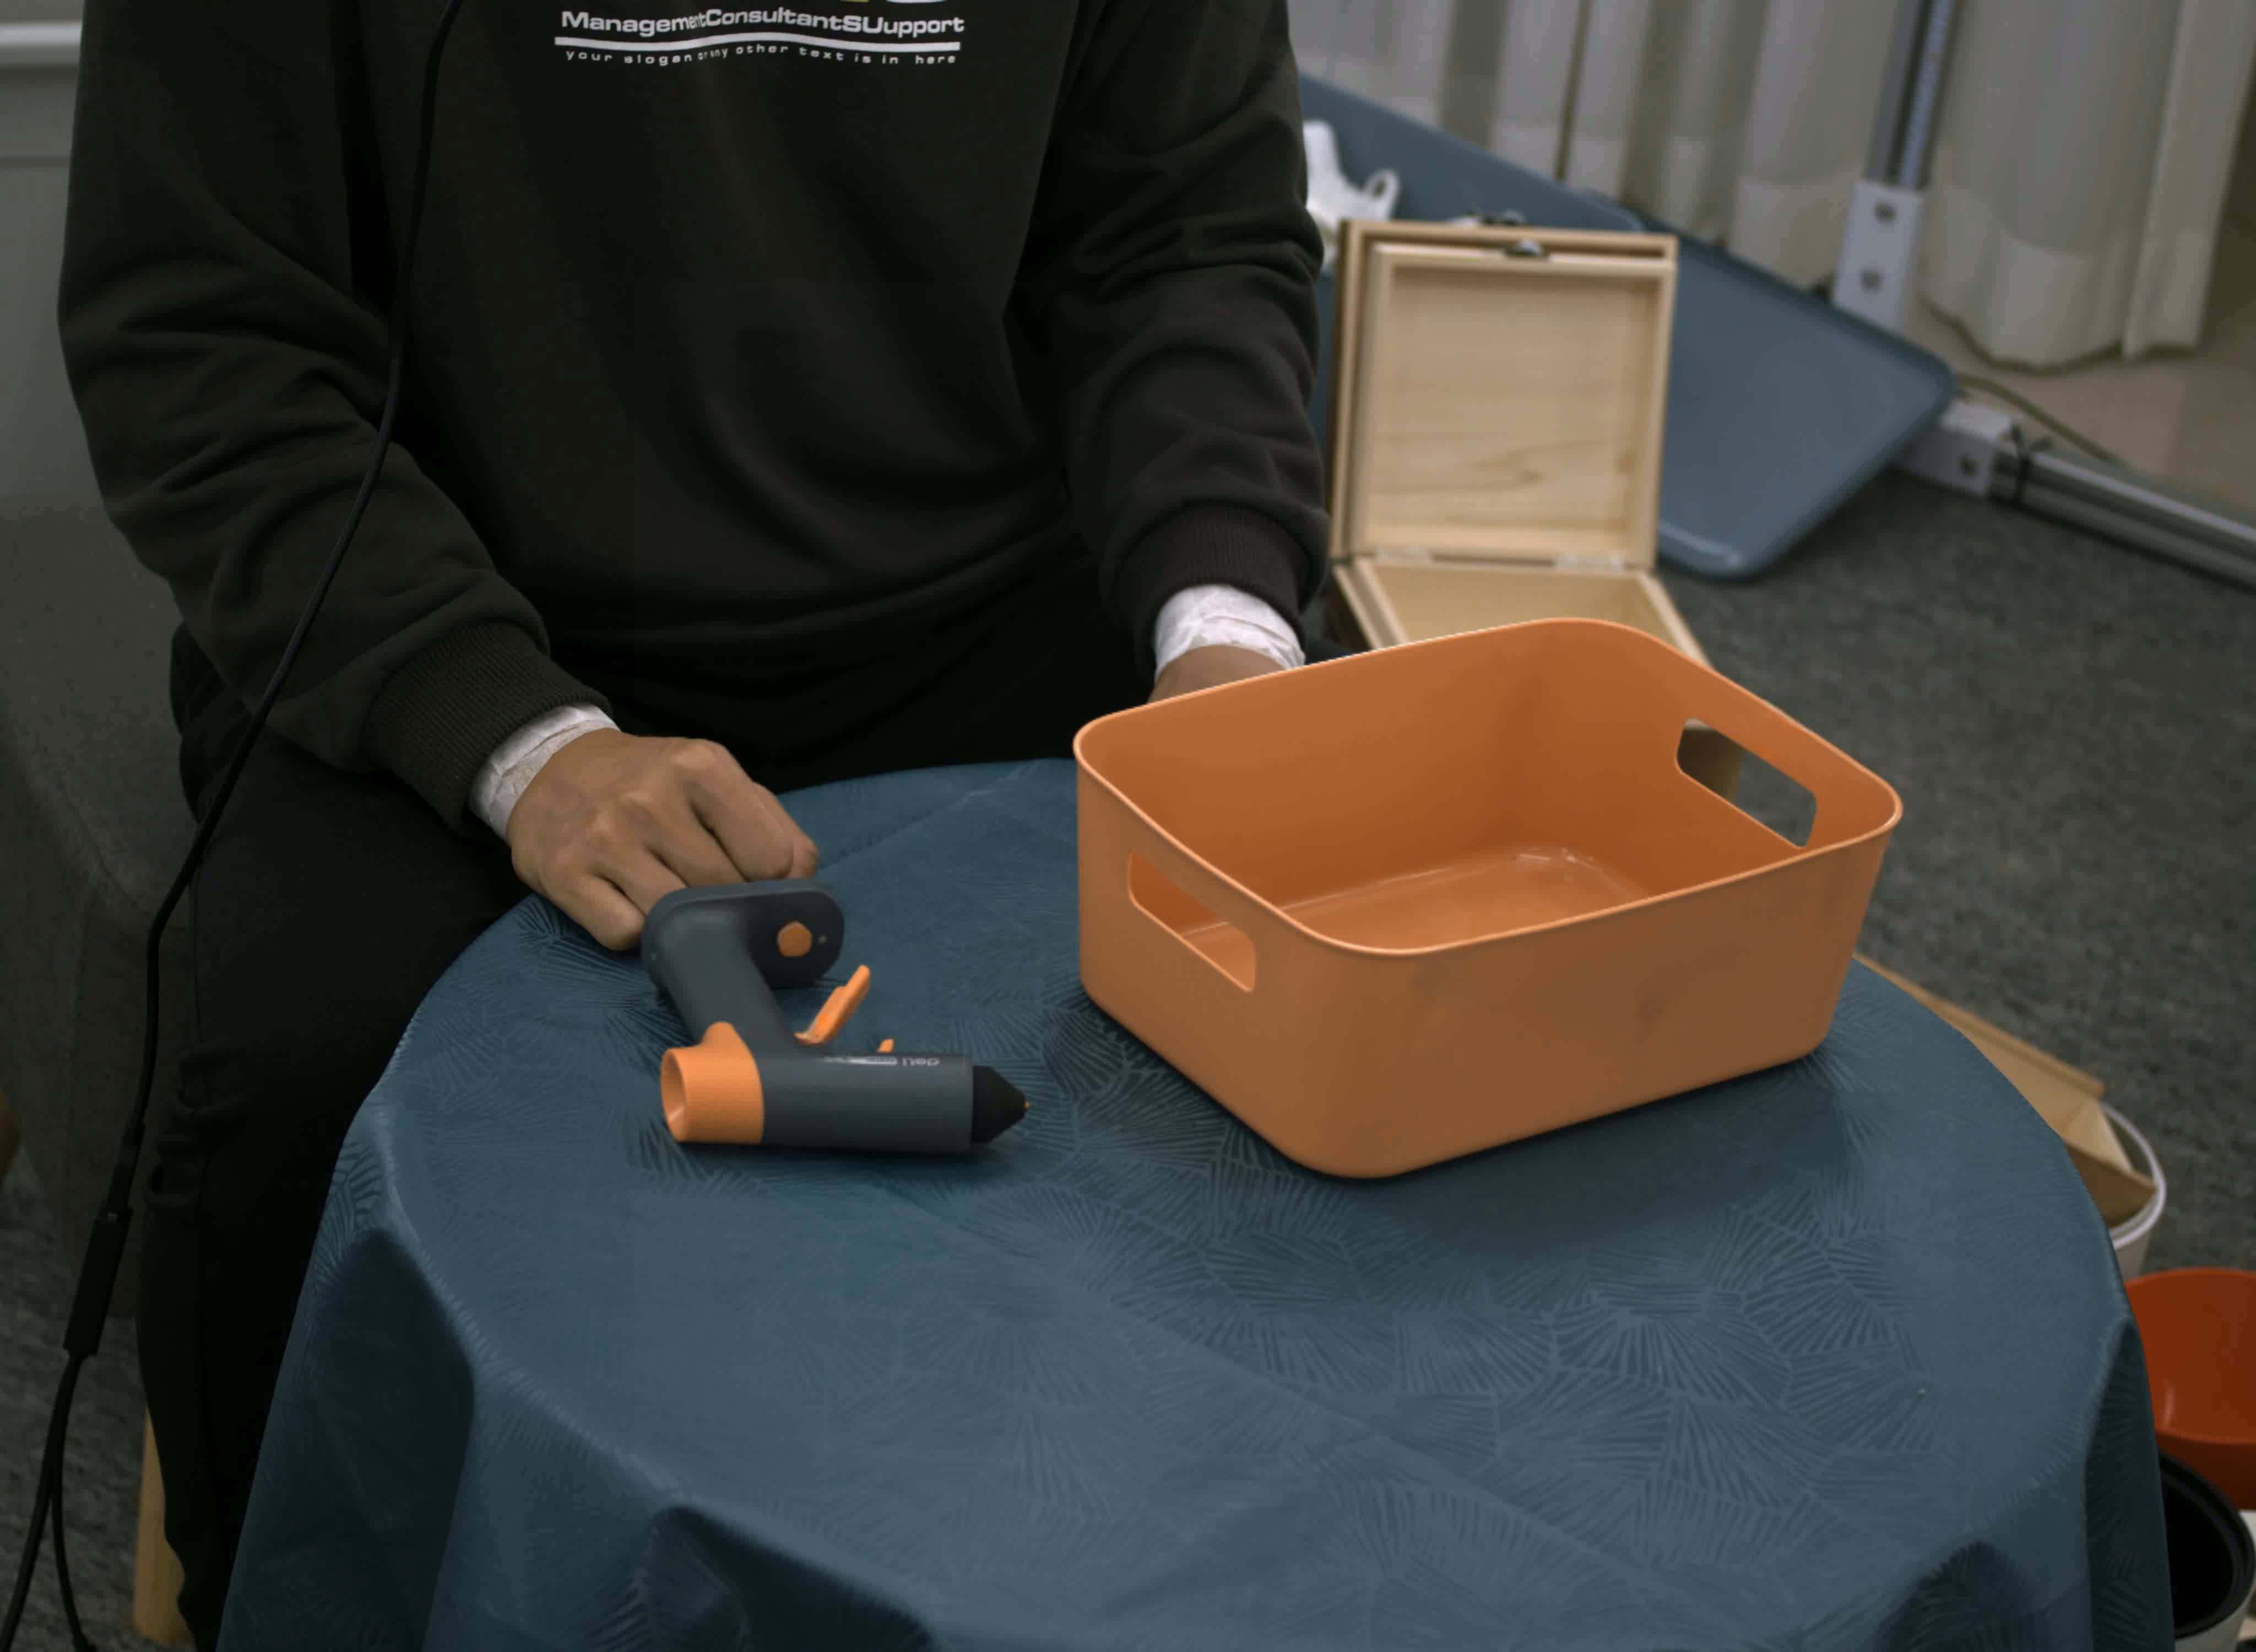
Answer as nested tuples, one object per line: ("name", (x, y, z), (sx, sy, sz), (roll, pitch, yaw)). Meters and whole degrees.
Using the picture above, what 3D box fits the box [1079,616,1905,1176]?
("box", (0.125, 0.024, 1.921), (0.271, 0.102, 0.201), (-13, 33, -33))

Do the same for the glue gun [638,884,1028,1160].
("glue gun", (-0.109, 0.073, 1.851), (0.117, 0.041, 0.141), (-3, 31, -23))
